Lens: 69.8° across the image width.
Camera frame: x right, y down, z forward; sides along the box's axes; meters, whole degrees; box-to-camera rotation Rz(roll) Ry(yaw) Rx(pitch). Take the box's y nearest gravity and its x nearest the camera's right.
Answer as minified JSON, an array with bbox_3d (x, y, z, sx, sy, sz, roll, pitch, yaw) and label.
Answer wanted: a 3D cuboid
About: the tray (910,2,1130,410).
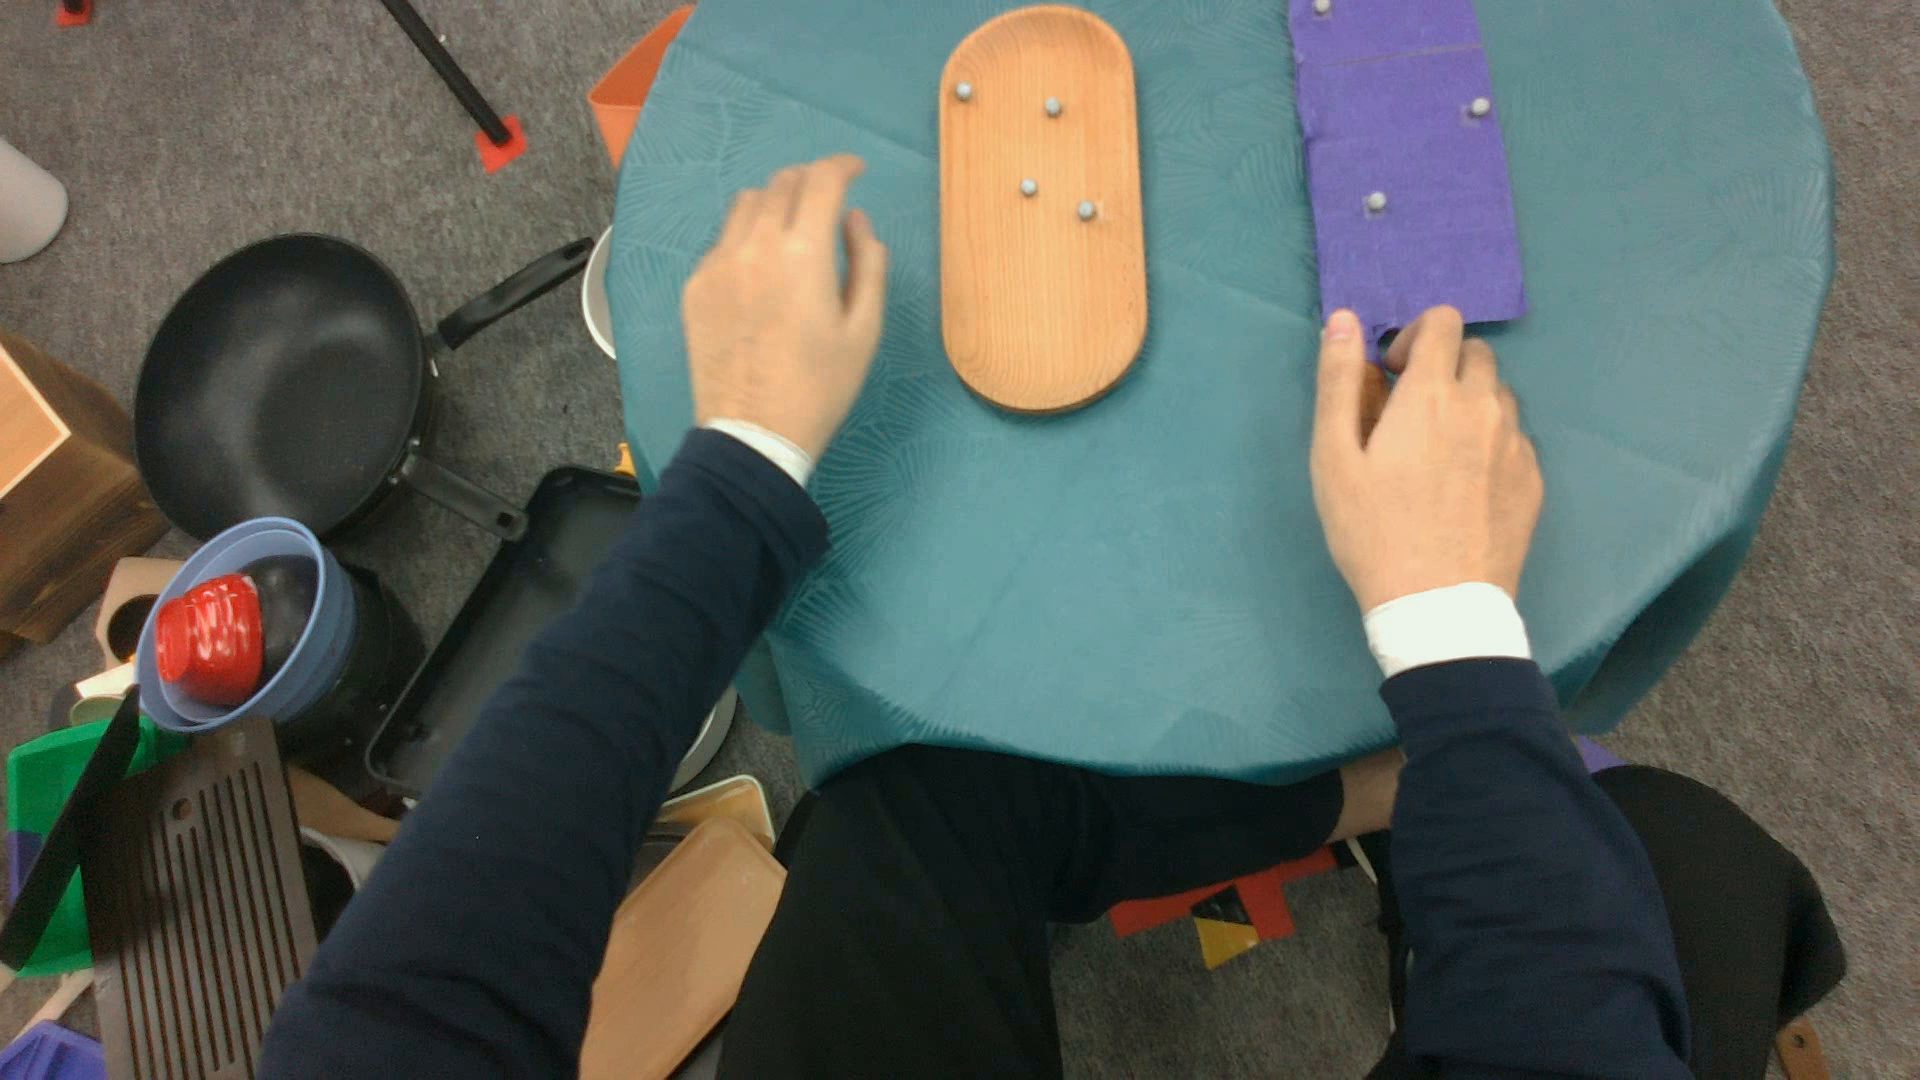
[{"bbox_3d":[0.029,-0.172,0.692,0.101,0.020,0.232,-6,72,8],"label":"tray"}]

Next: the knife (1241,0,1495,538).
[{"bbox_3d":[0.199,-0.155,0.652,0.104,0.032,0.316,-5,69,8],"label":"knife"}]
